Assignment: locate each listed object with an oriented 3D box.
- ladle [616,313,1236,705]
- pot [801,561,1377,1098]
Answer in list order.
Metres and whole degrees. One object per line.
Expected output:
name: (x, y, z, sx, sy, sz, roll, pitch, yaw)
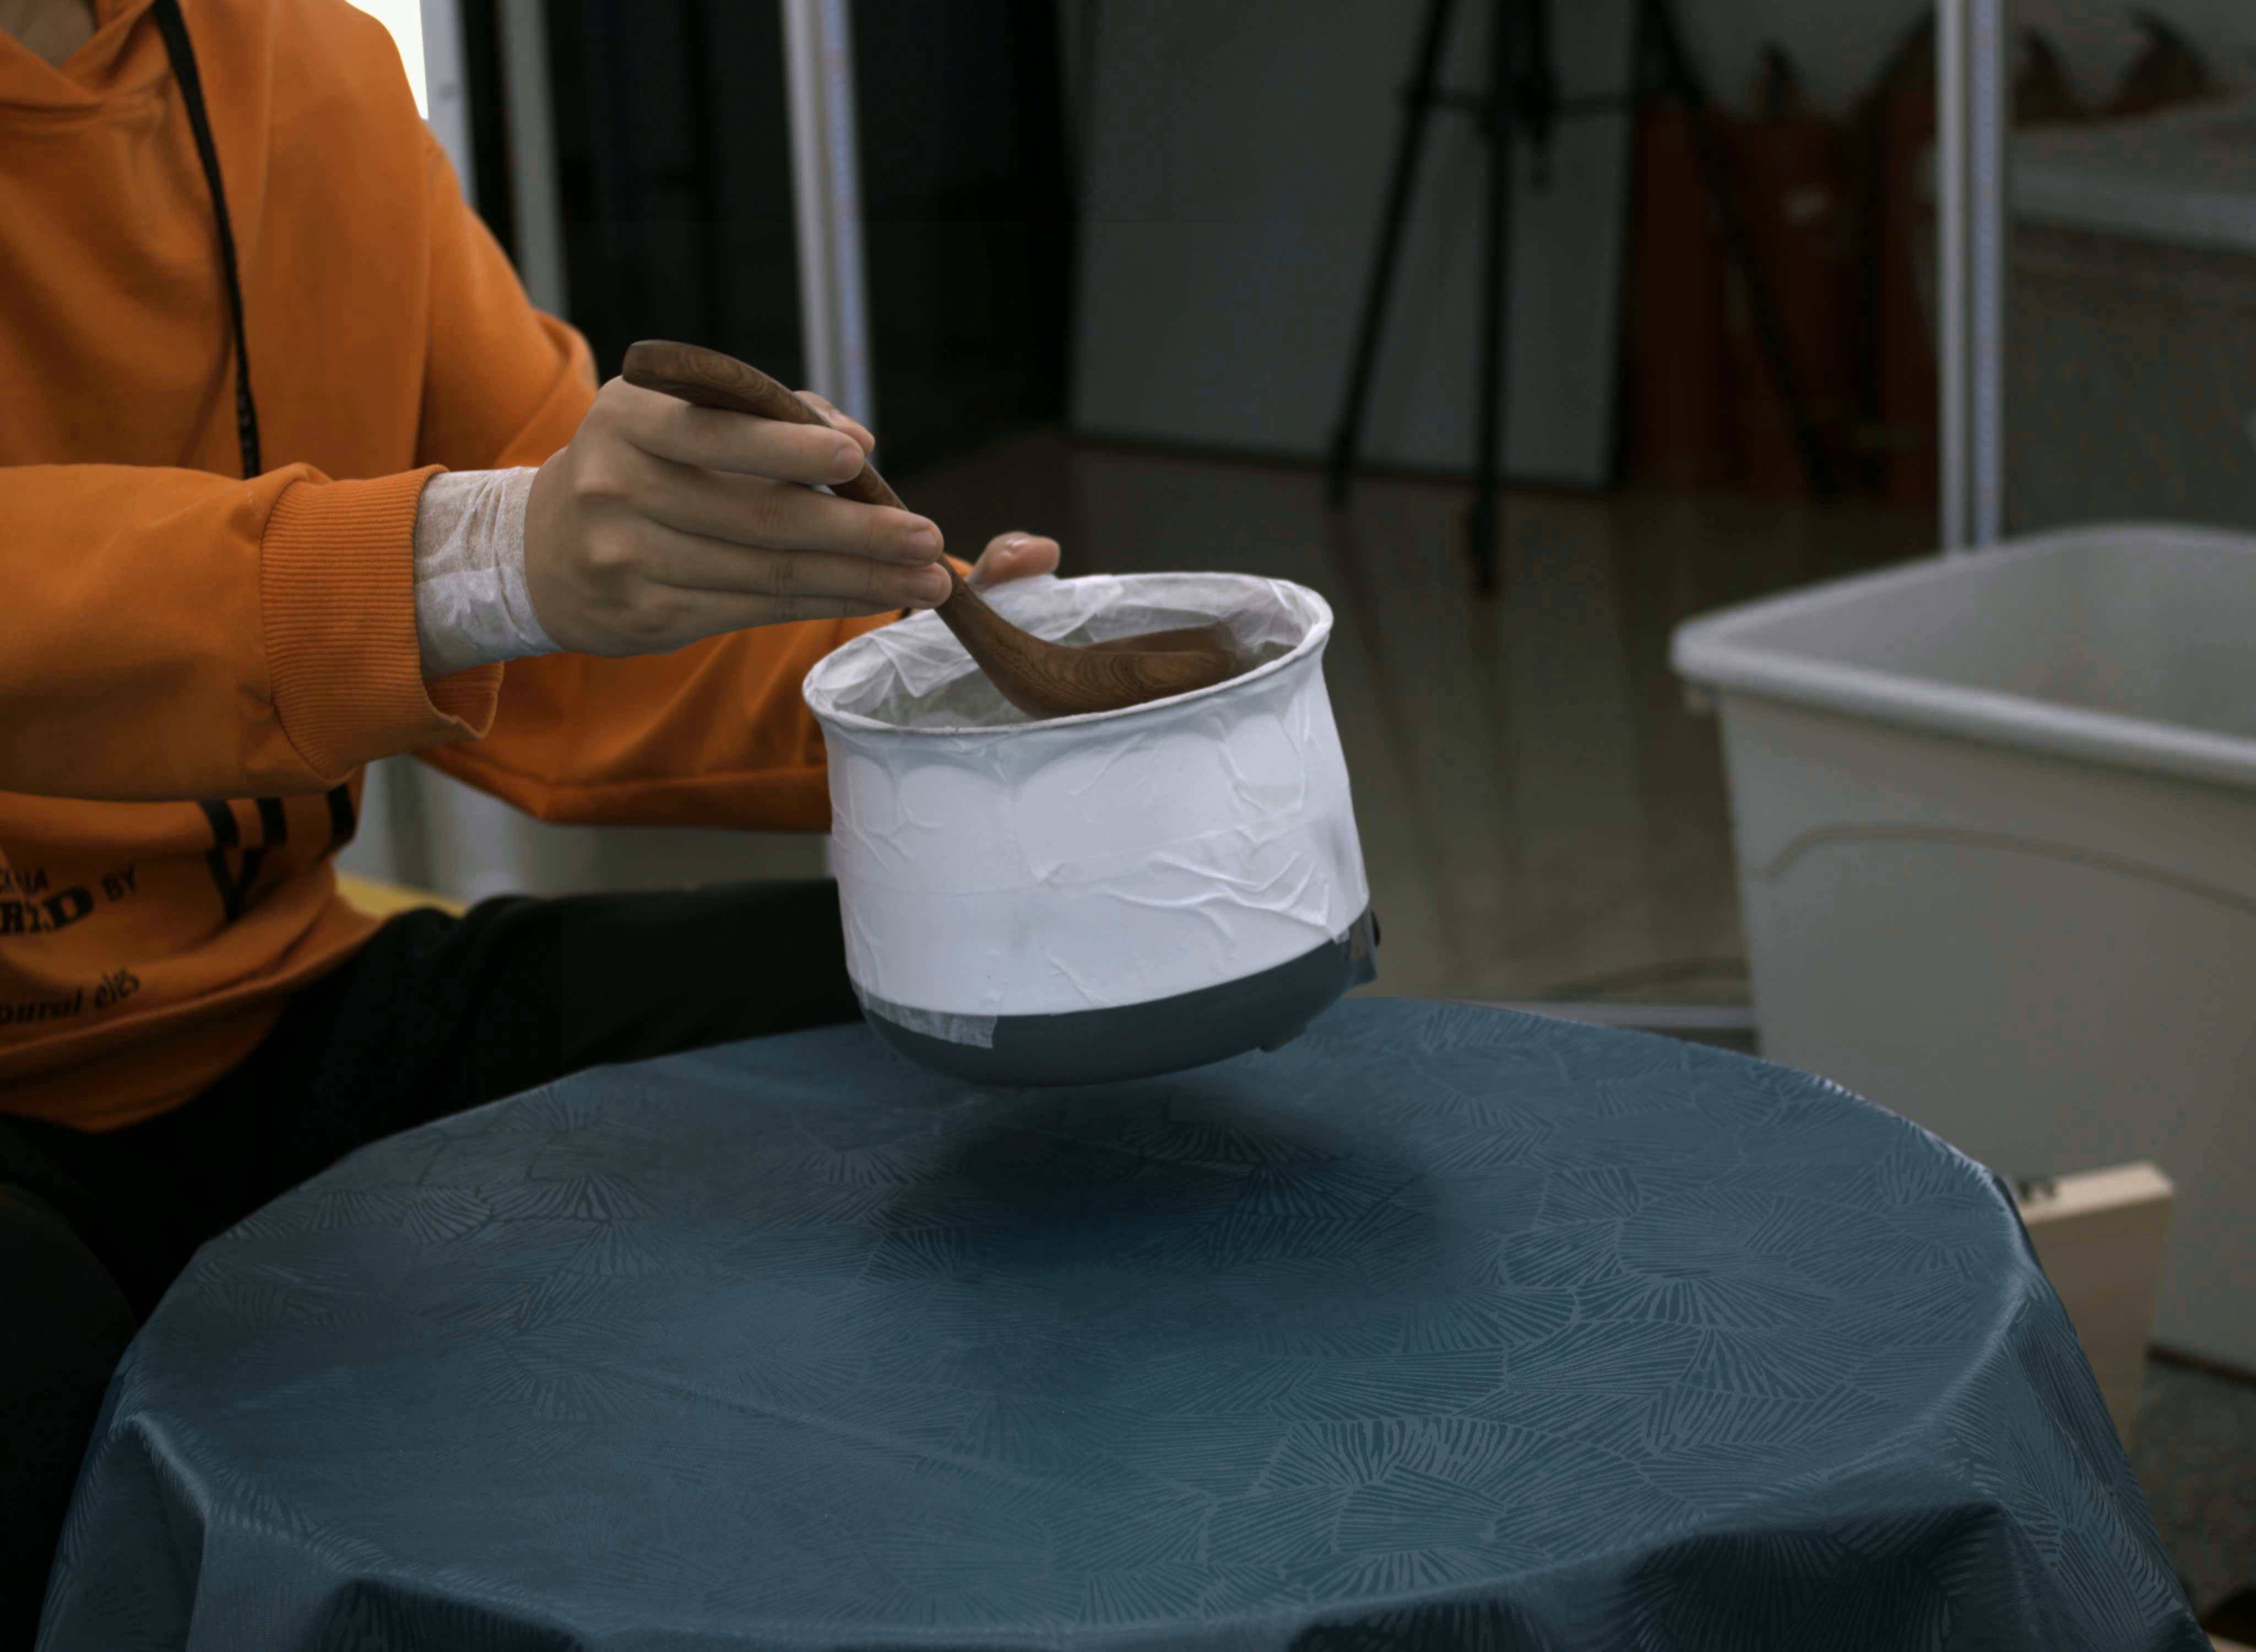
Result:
ladle: (-0.061, -0.102, 1.674, 0.077, 0.065, 0.256, -10, -38, 42)
pot: (-0.016, -0.006, 1.802, 0.176, 0.138, 0.235, -10, 16, -6)
